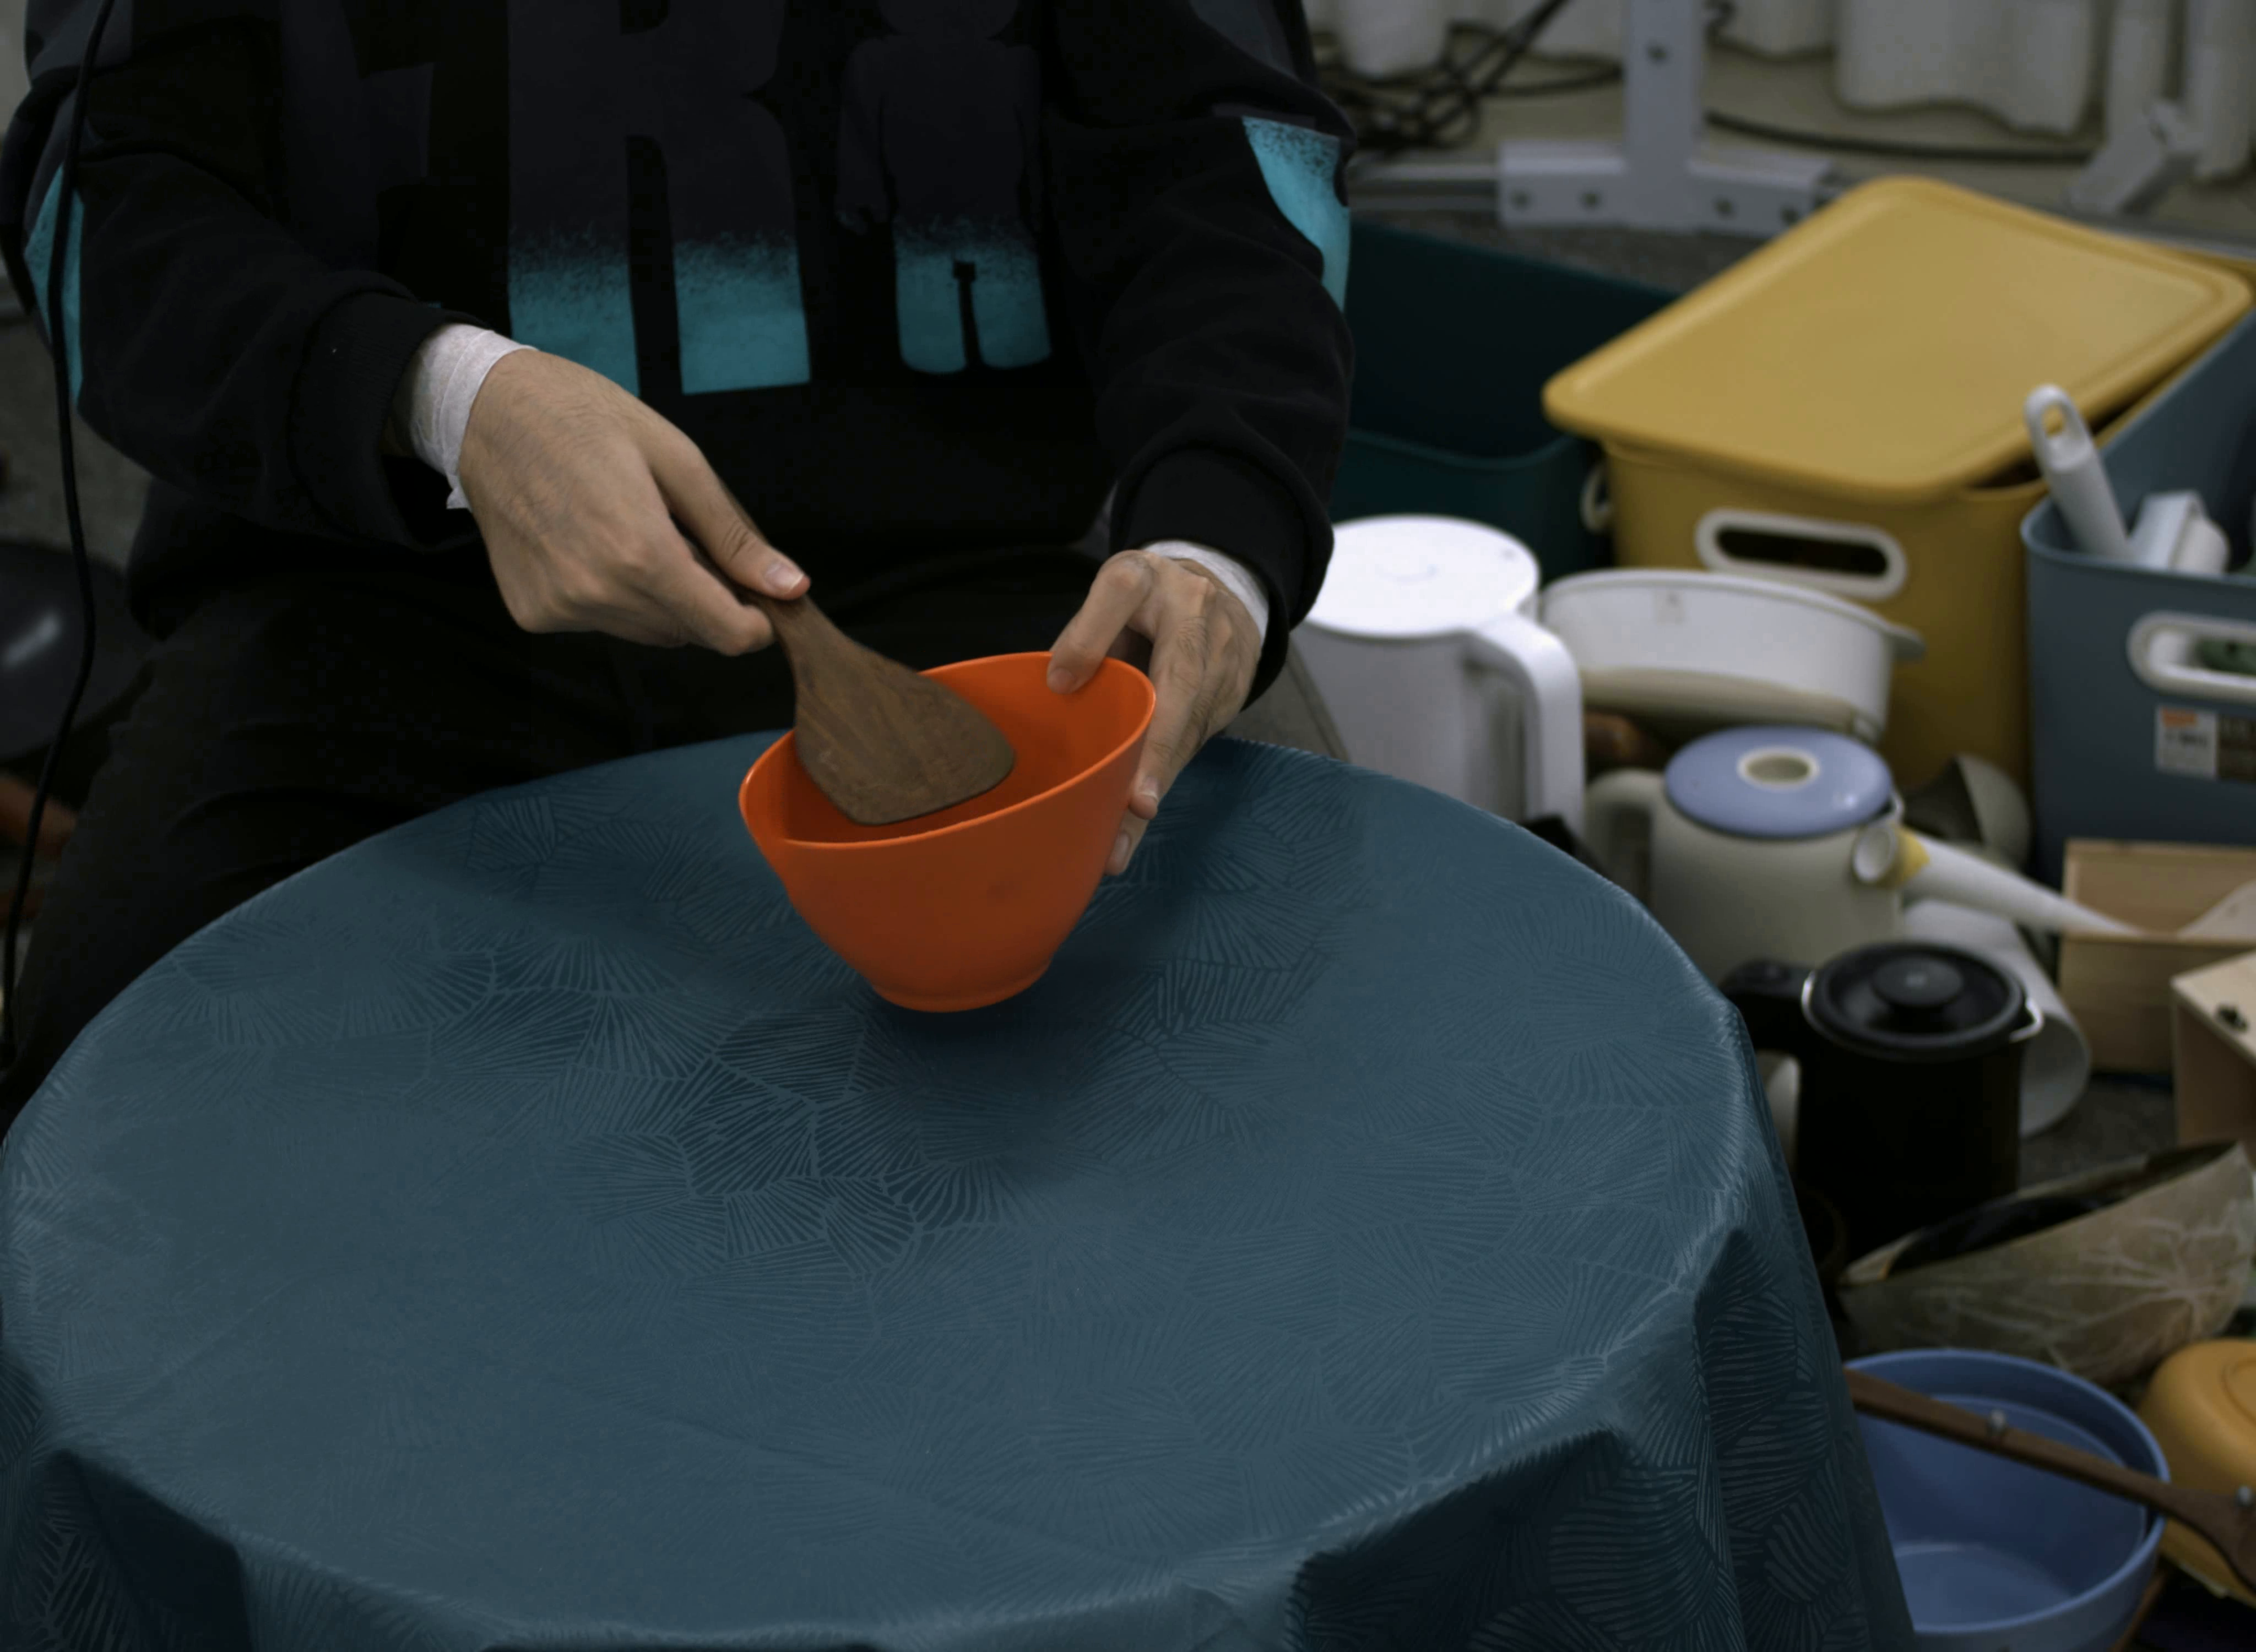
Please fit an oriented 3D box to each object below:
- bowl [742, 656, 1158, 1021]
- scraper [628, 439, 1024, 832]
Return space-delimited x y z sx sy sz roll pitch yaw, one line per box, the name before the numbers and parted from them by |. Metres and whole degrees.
bowl | -0.056 0.010 1.943 0.147 0.103 0.150 -7 29 4
scraper | -0.118 -0.070 1.996 0.076 0.010 0.213 -17 50 -29
